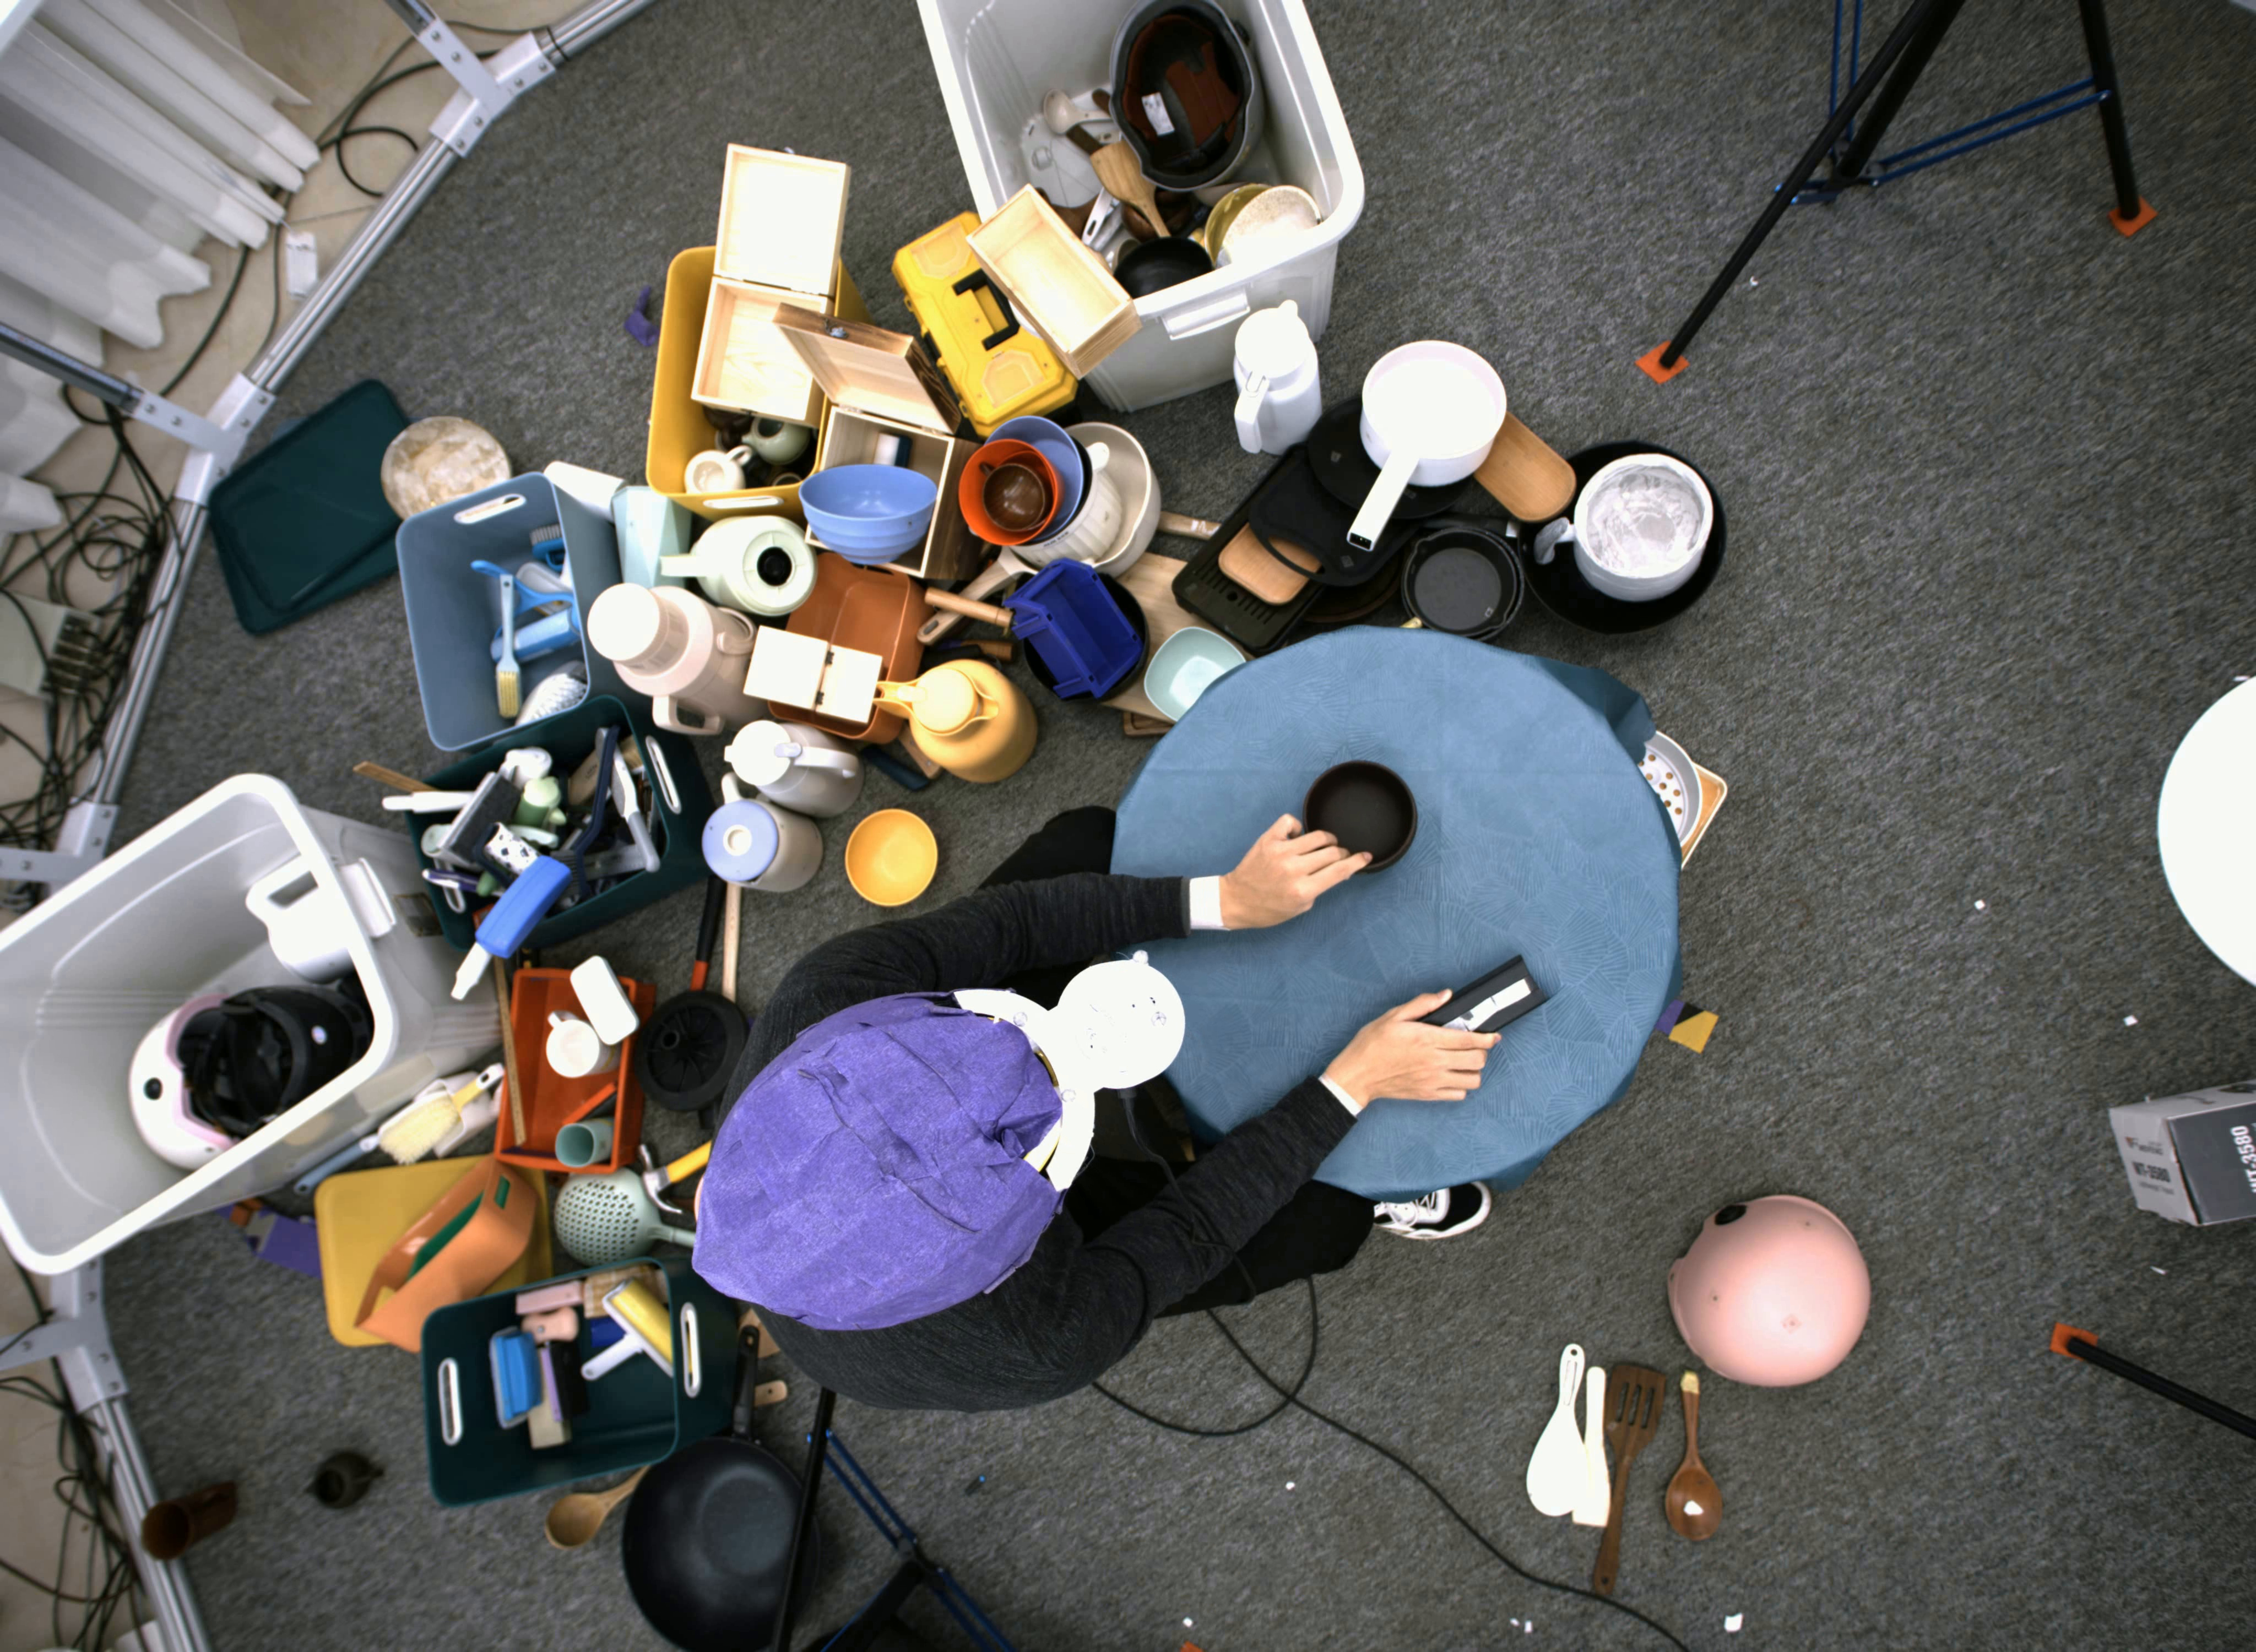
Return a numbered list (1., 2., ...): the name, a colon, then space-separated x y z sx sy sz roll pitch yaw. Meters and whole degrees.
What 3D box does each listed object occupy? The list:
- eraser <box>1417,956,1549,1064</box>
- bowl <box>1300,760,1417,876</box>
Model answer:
1. eraser: 0.361 0.184 1.403 0.126 0.030 0.053 -34 87 10
2. bowl: 0.240 -0.006 1.431 0.118 0.070 0.117 -2 81 13
